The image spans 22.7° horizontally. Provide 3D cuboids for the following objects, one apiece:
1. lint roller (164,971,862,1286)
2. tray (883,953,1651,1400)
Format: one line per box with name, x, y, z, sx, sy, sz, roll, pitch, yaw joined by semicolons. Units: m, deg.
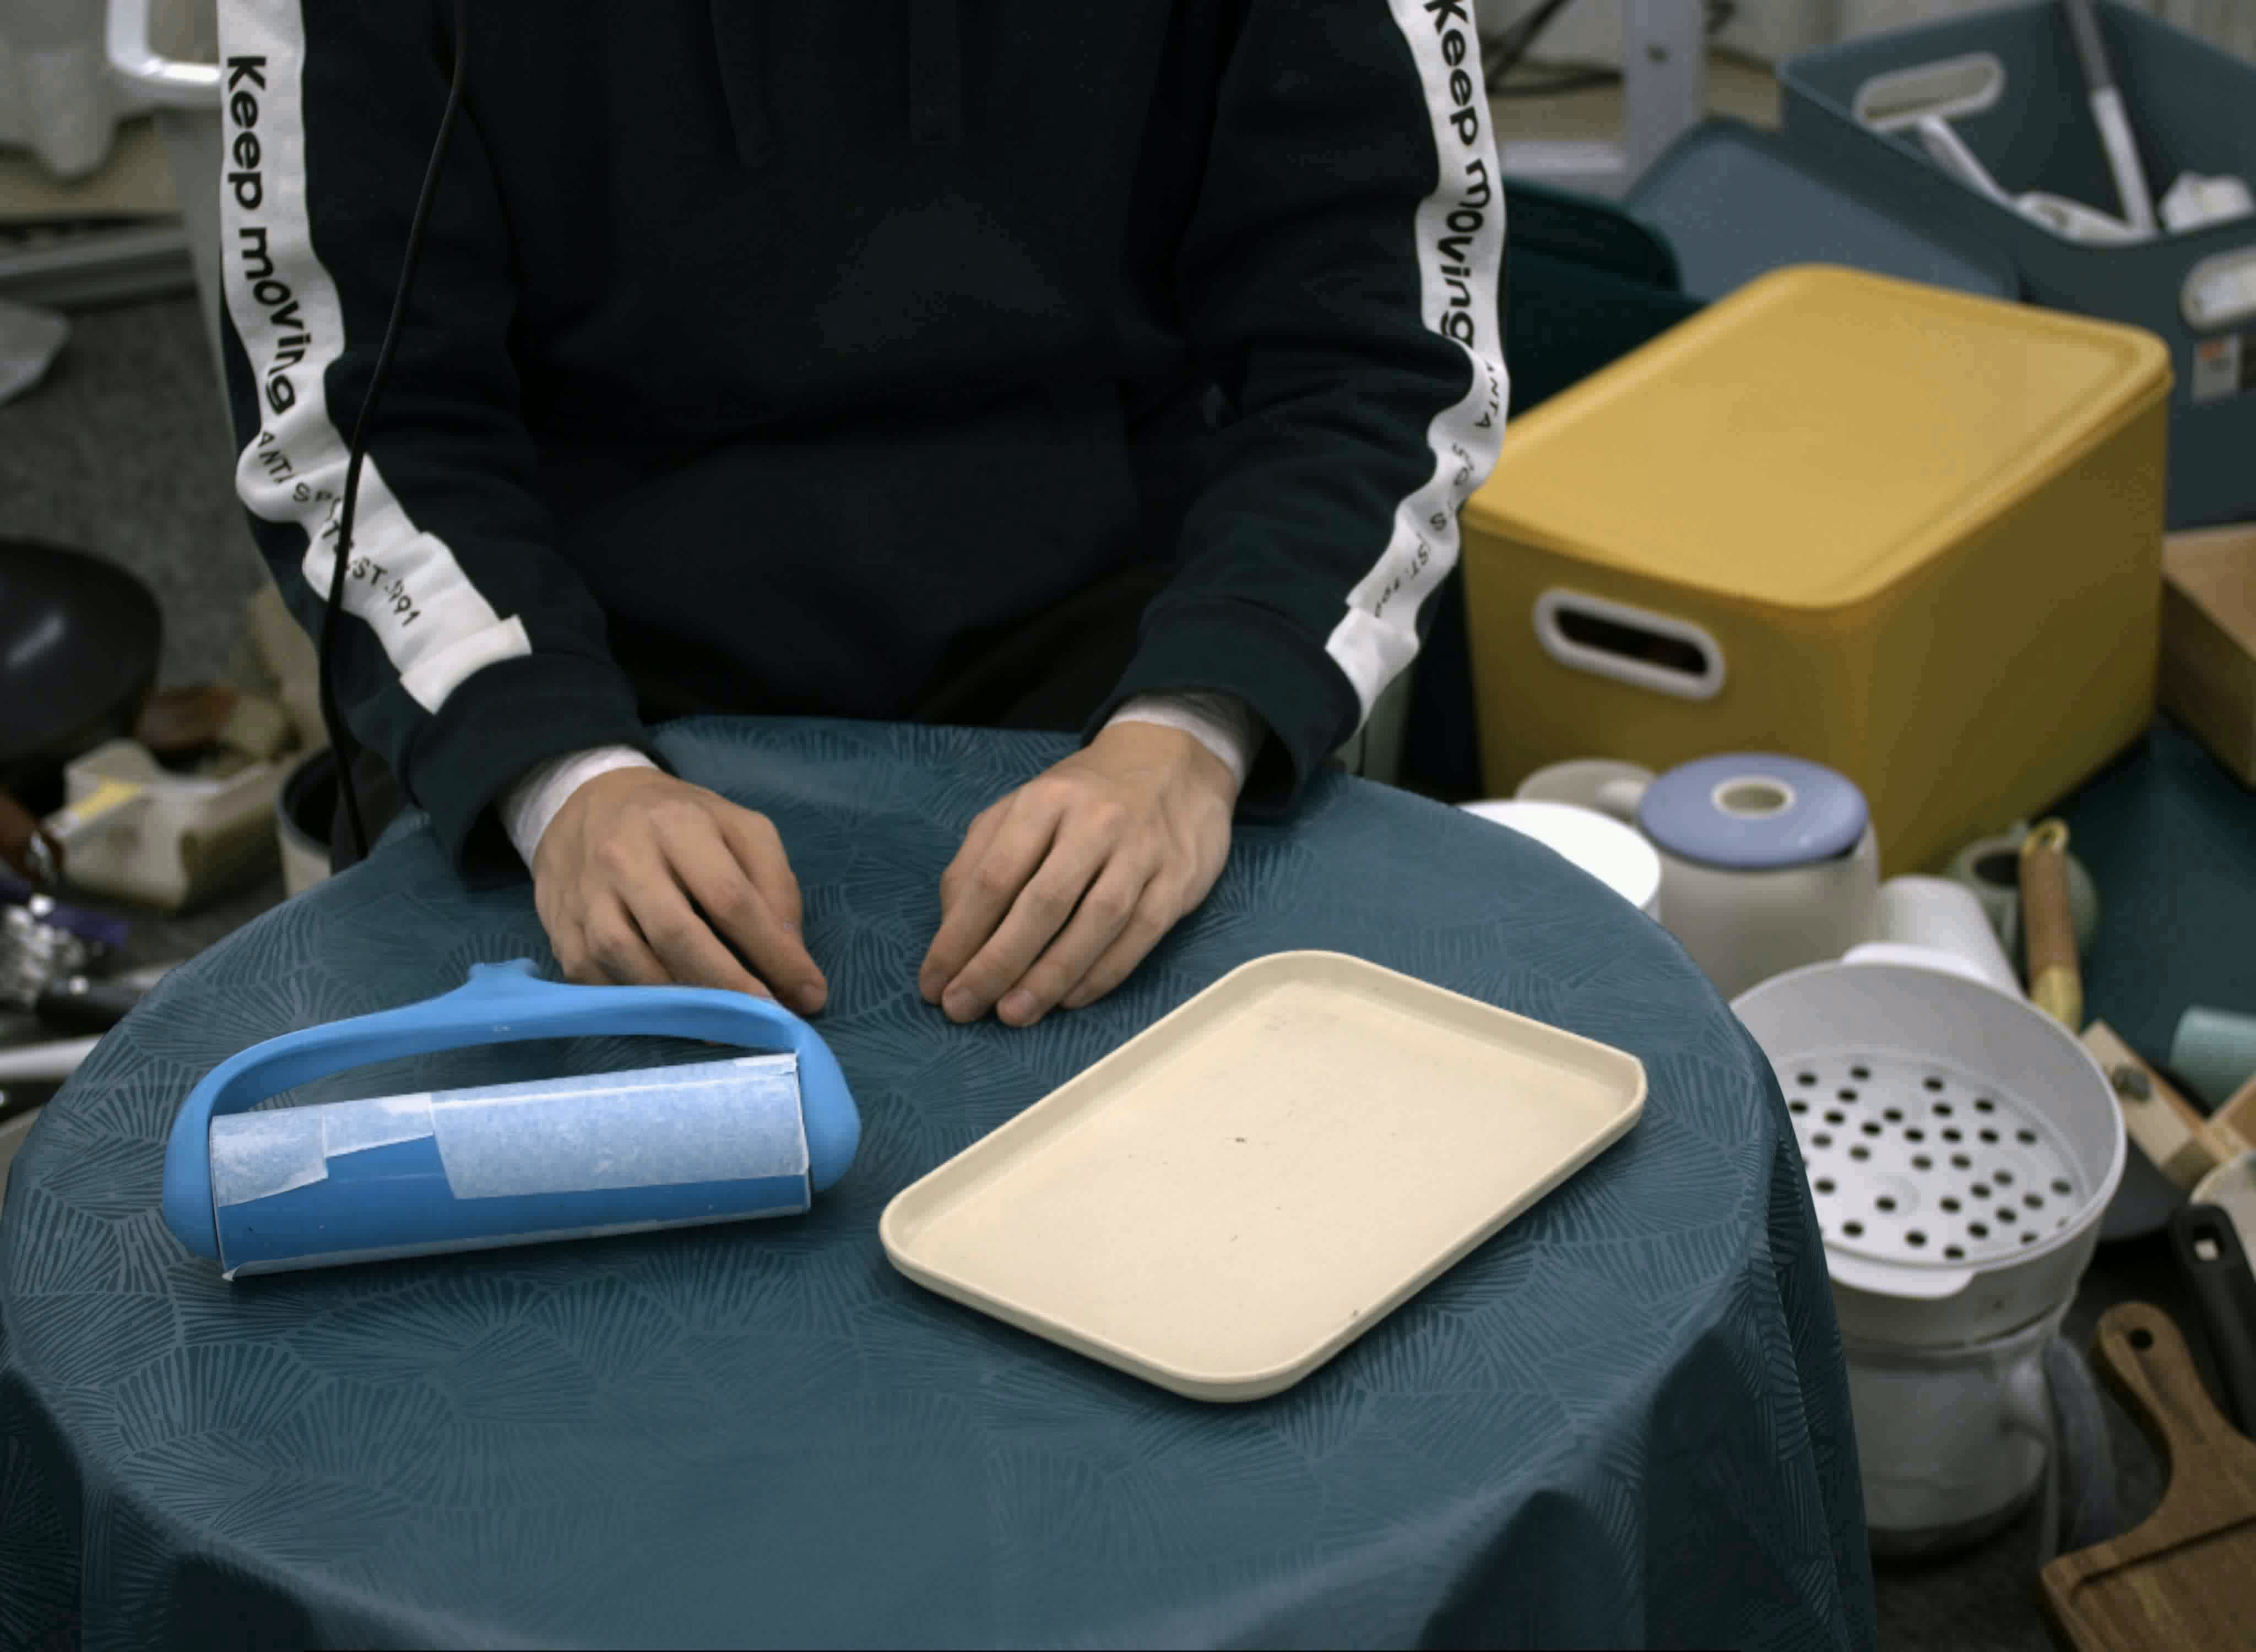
lint roller;-0.211;0.084;1.892;0.228;0.067;0.182;-8;28;-8
tray;0.048;0.114;1.851;0.170;0.017;0.243;18;34;35
